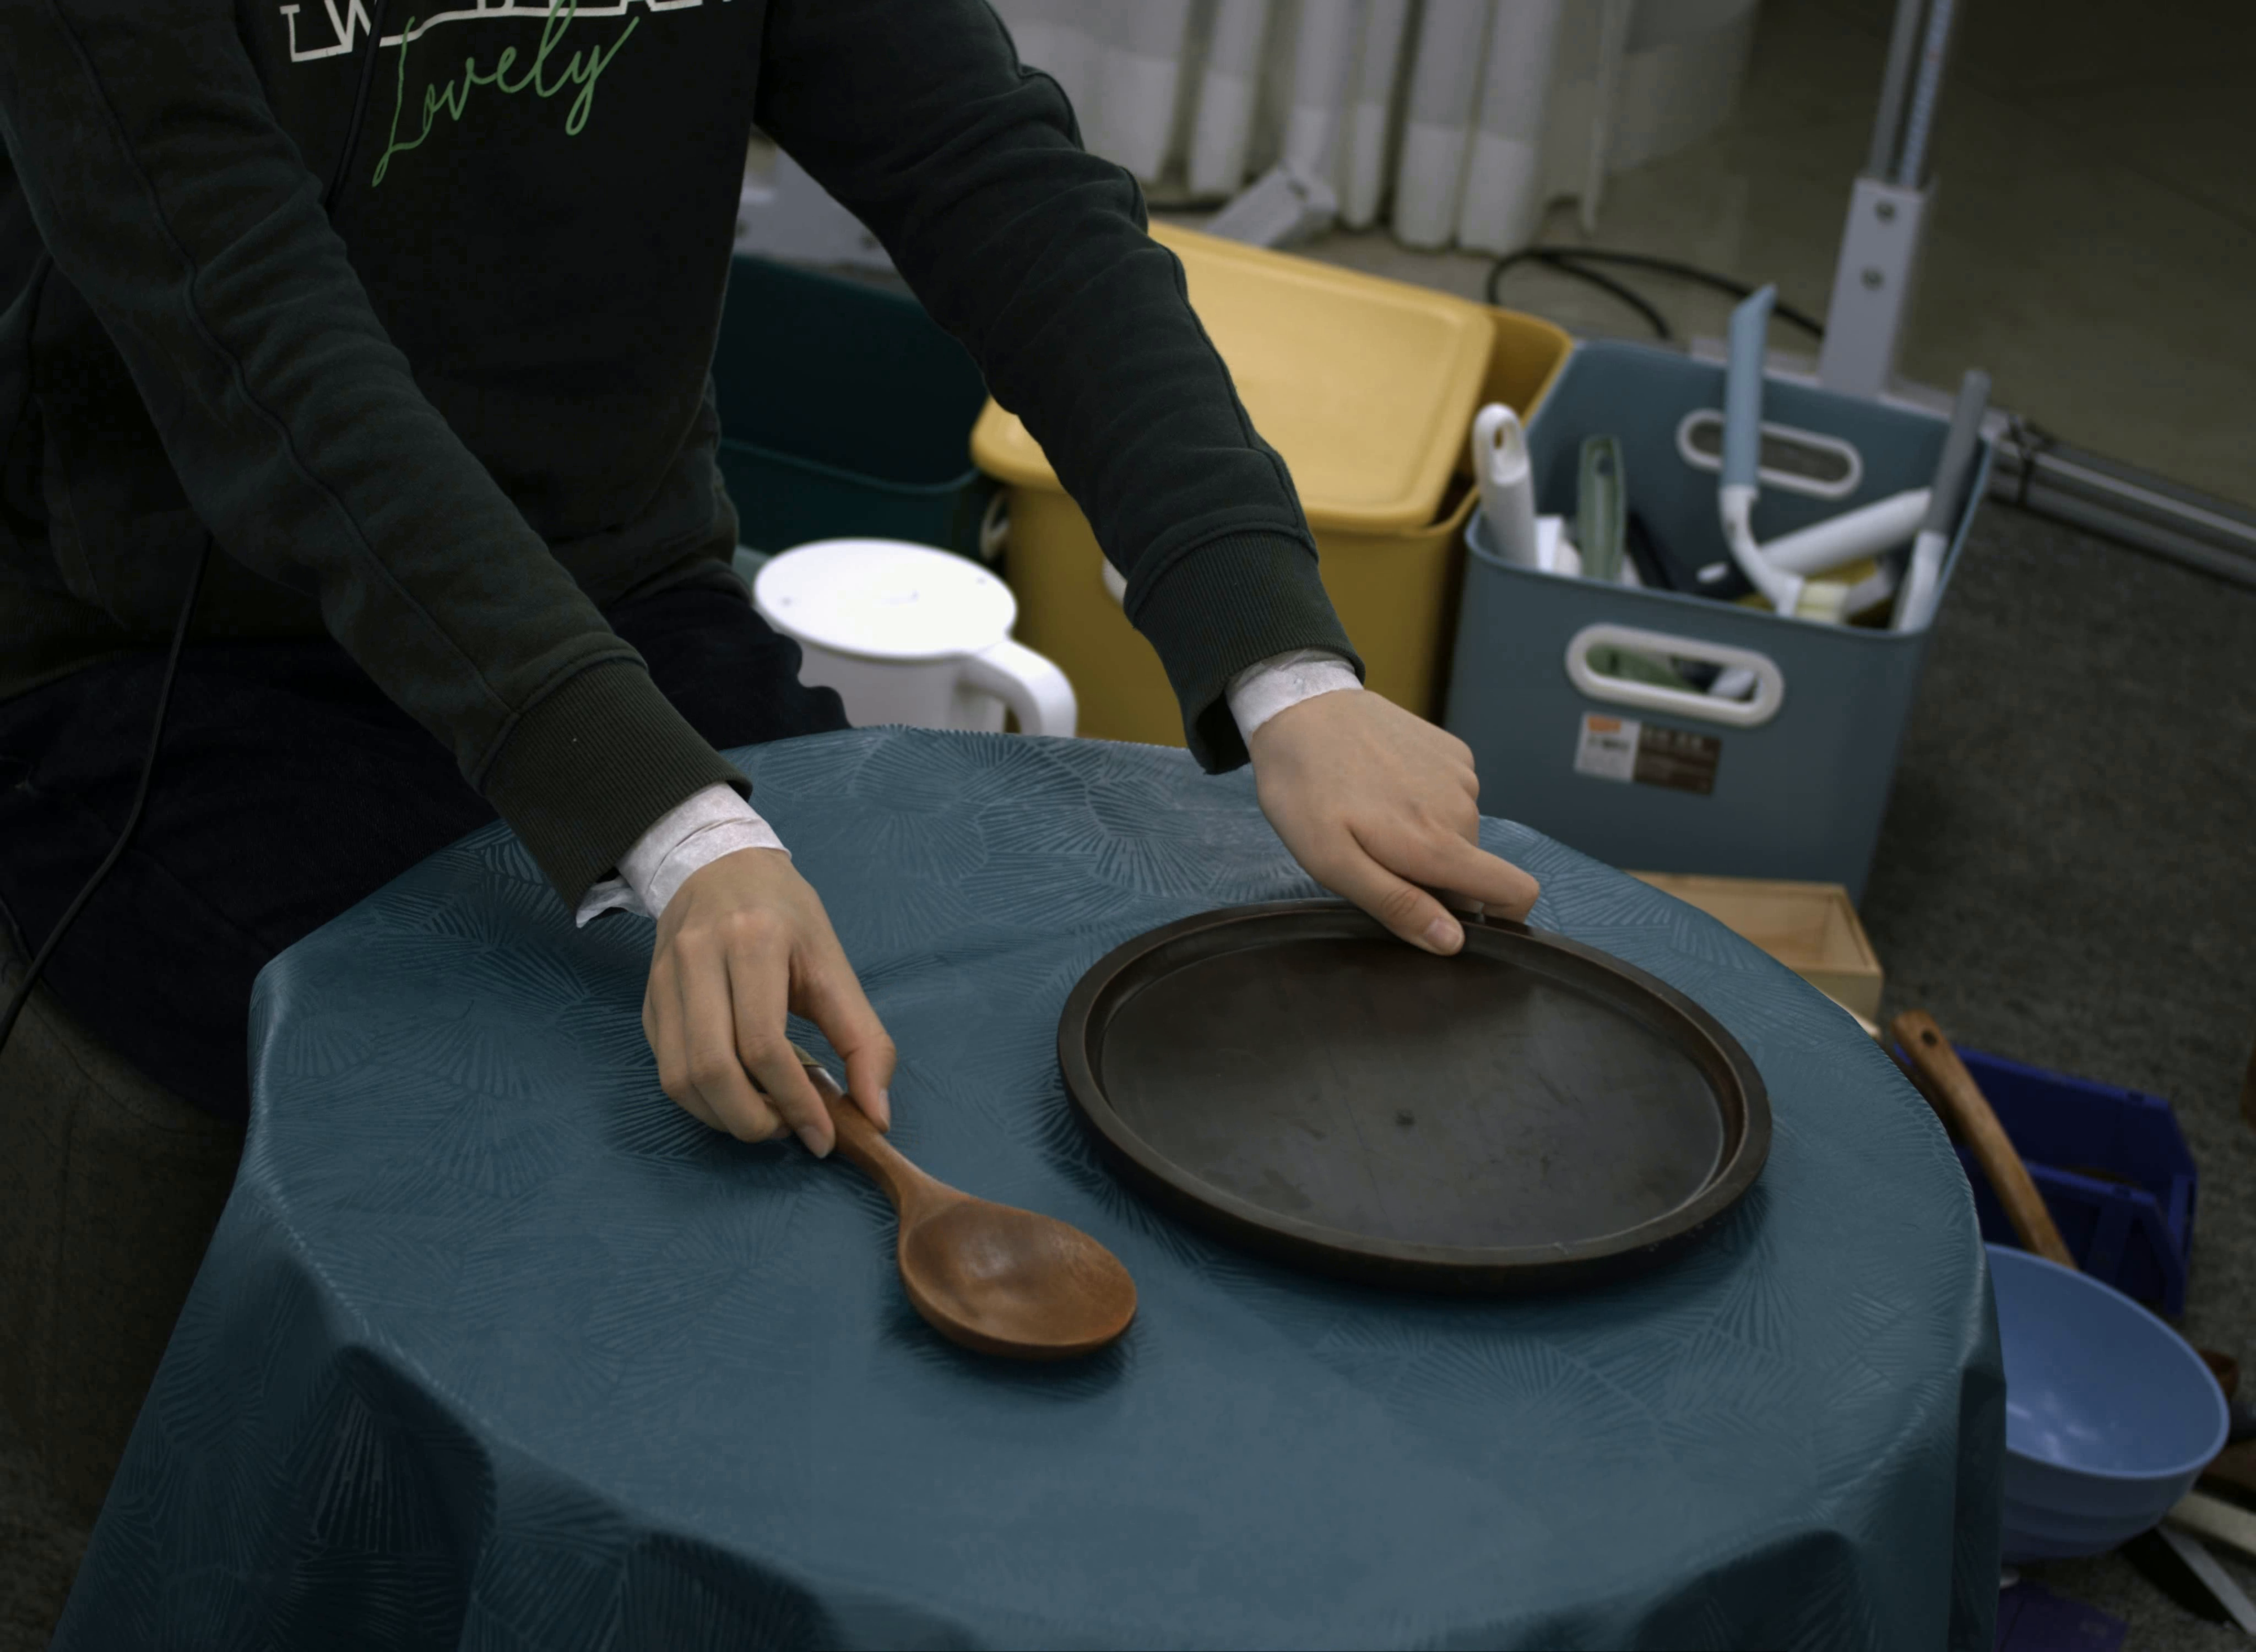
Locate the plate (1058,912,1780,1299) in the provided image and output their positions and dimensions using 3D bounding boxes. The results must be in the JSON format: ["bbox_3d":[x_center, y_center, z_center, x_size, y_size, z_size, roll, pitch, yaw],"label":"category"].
[{"bbox_3d":[0.100,0.095,1.856,0.254,0.029,0.256,6,27,-3],"label":"plate"}]

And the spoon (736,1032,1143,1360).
[{"bbox_3d":[-0.070,0.123,1.766,0.075,0.017,0.218,-12,32,-31],"label":"spoon"}]
